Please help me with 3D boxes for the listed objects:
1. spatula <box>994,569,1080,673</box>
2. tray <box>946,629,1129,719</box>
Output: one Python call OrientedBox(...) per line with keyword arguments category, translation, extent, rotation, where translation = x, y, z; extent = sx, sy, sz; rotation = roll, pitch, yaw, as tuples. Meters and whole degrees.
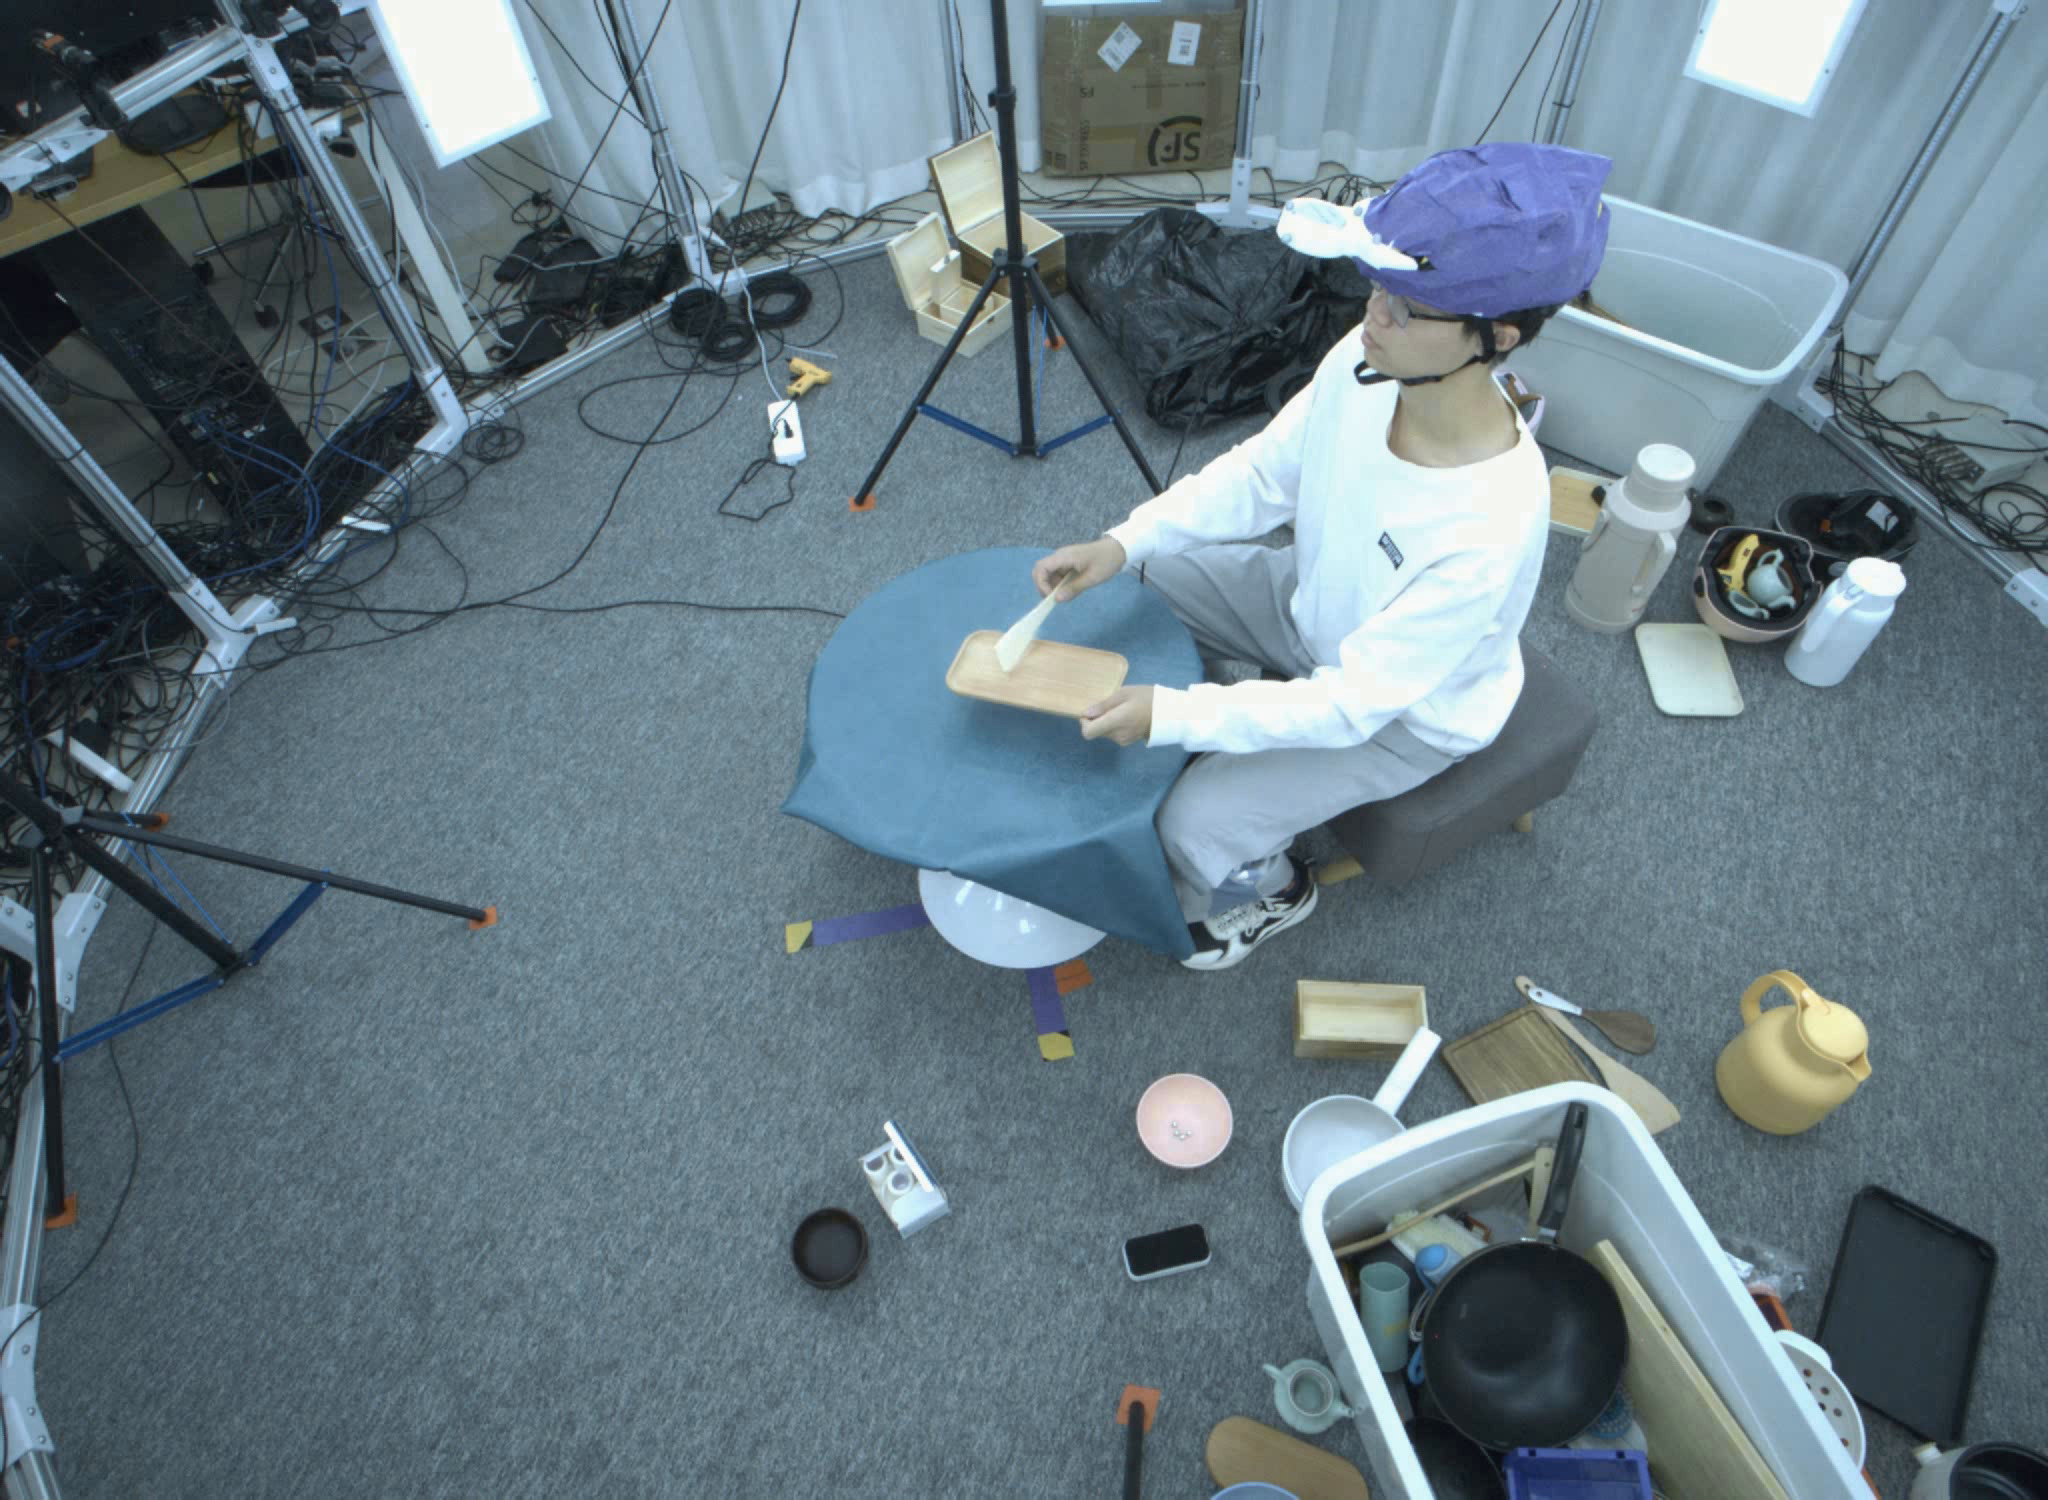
OrientedBox(category="spatula", translation=(0.022, -0.194, 1.779), extent=(0.005, 0.051, 0.209), rotation=(21, 57, 32))
OrientedBox(category="tray", translation=(0.019, -0.109, 1.753), extent=(0.248, 0.023, 0.130), rotation=(12, 56, 15))
